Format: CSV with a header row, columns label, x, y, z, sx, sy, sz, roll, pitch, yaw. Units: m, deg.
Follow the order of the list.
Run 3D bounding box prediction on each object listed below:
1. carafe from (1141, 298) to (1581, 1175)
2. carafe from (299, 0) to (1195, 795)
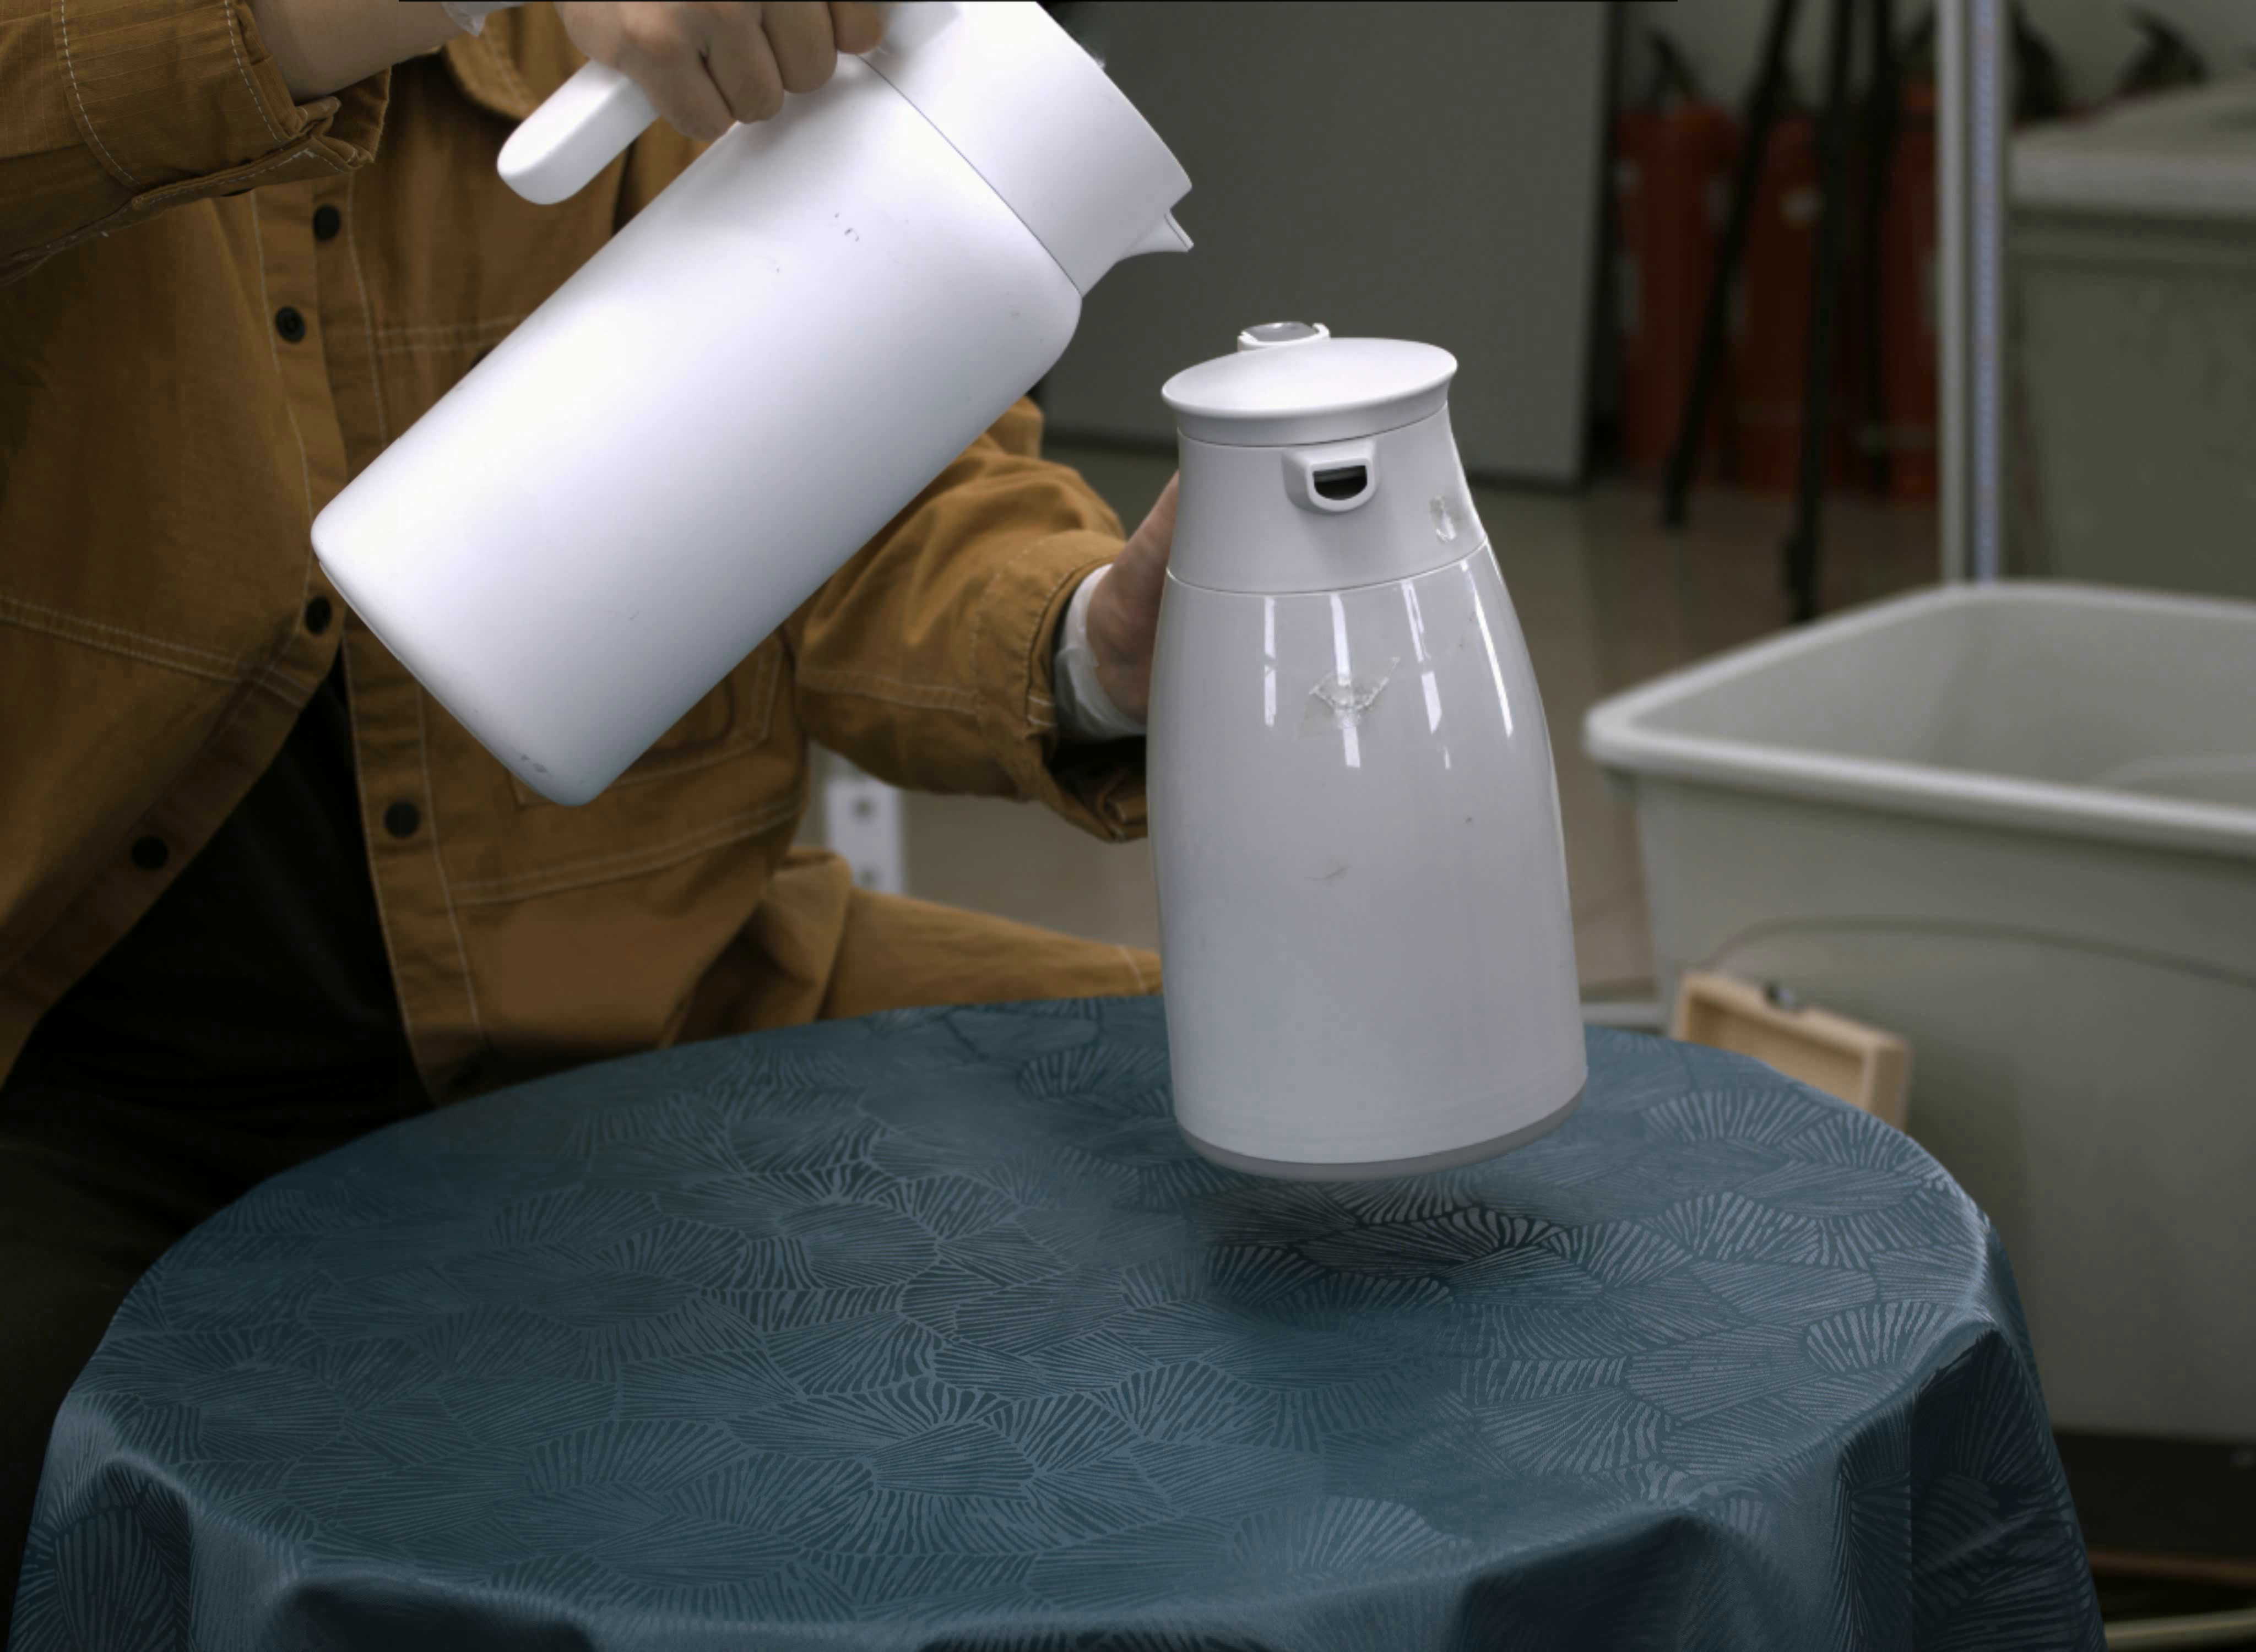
label,x,y,z,sx,sy,sz,roll,pitch,yaw
carafe,0.062,-0.036,1.688,0.130,0.251,0.168,-8,15,-4
carafe,-0.122,-0.150,1.582,0.269,0.171,0.125,-43,30,2
